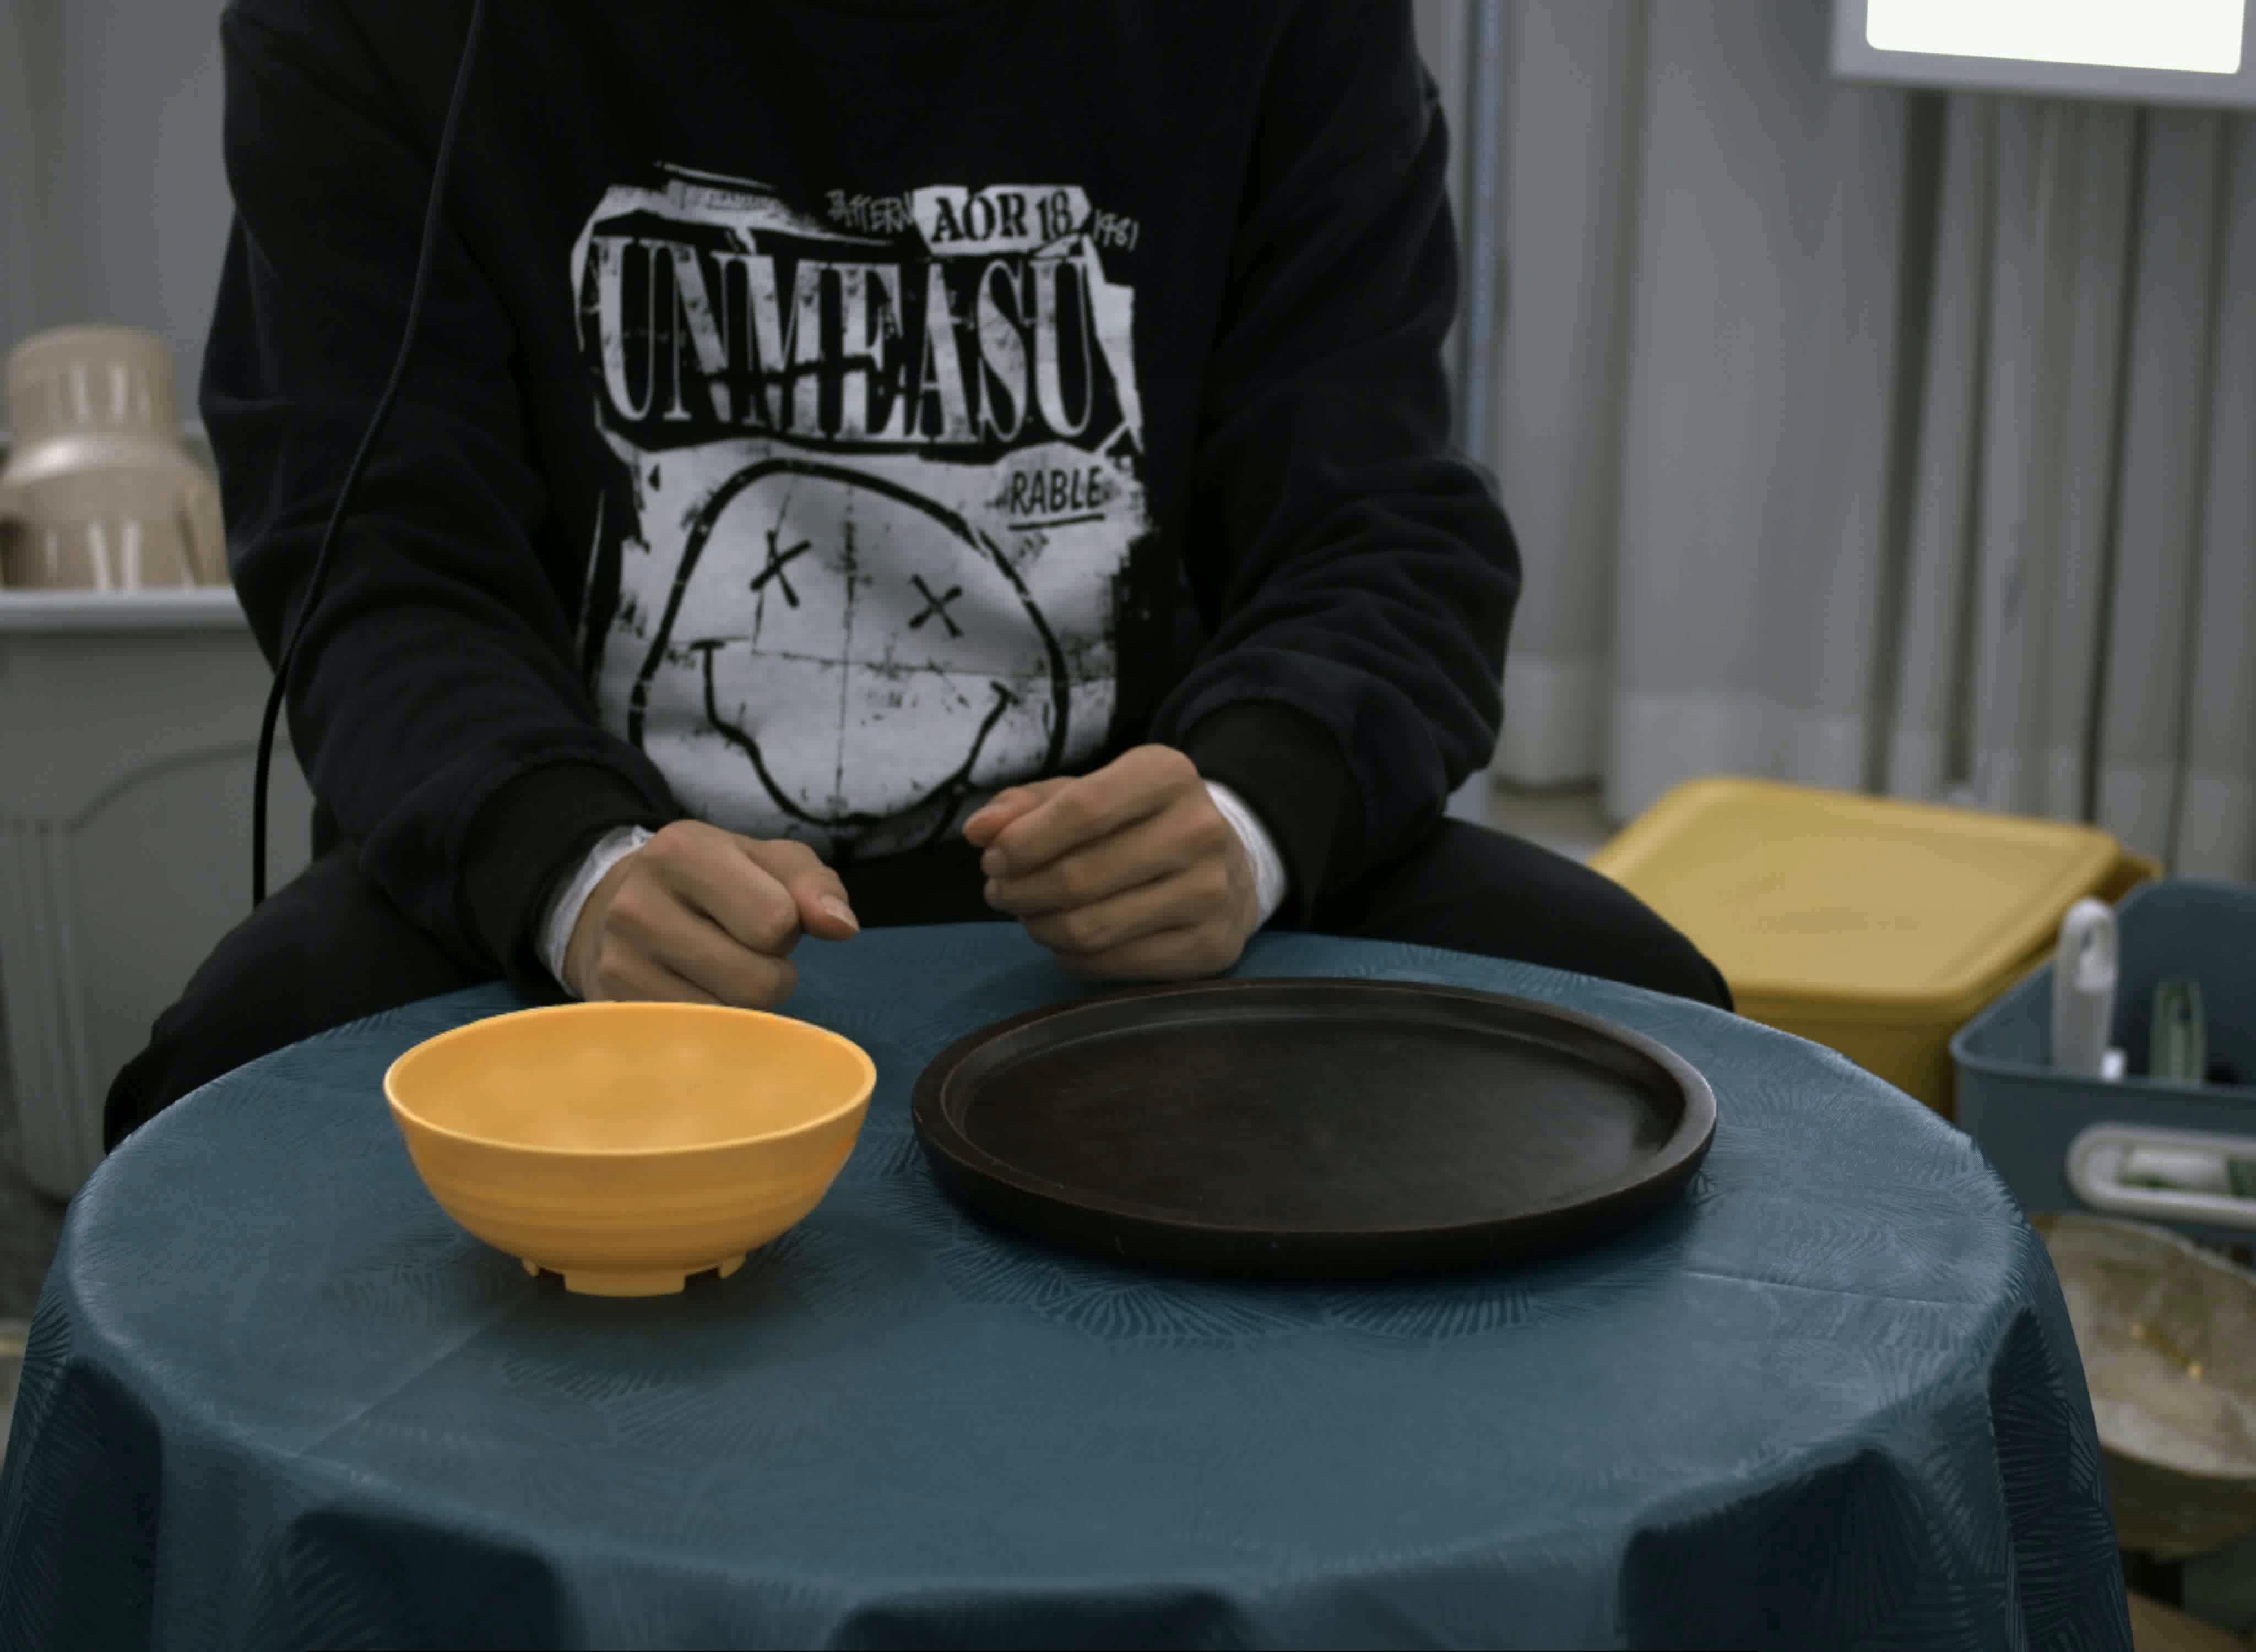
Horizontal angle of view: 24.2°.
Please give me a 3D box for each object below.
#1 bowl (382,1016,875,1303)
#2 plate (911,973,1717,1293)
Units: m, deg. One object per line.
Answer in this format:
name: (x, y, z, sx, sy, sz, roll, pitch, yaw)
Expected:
bowl: (-0.147, 0.102, 1.554, 0.145, 0.060, 0.144, 2, 13, 0)
plate: (0.059, 0.094, 1.653, 0.254, 0.029, 0.253, -1, 15, 1)
